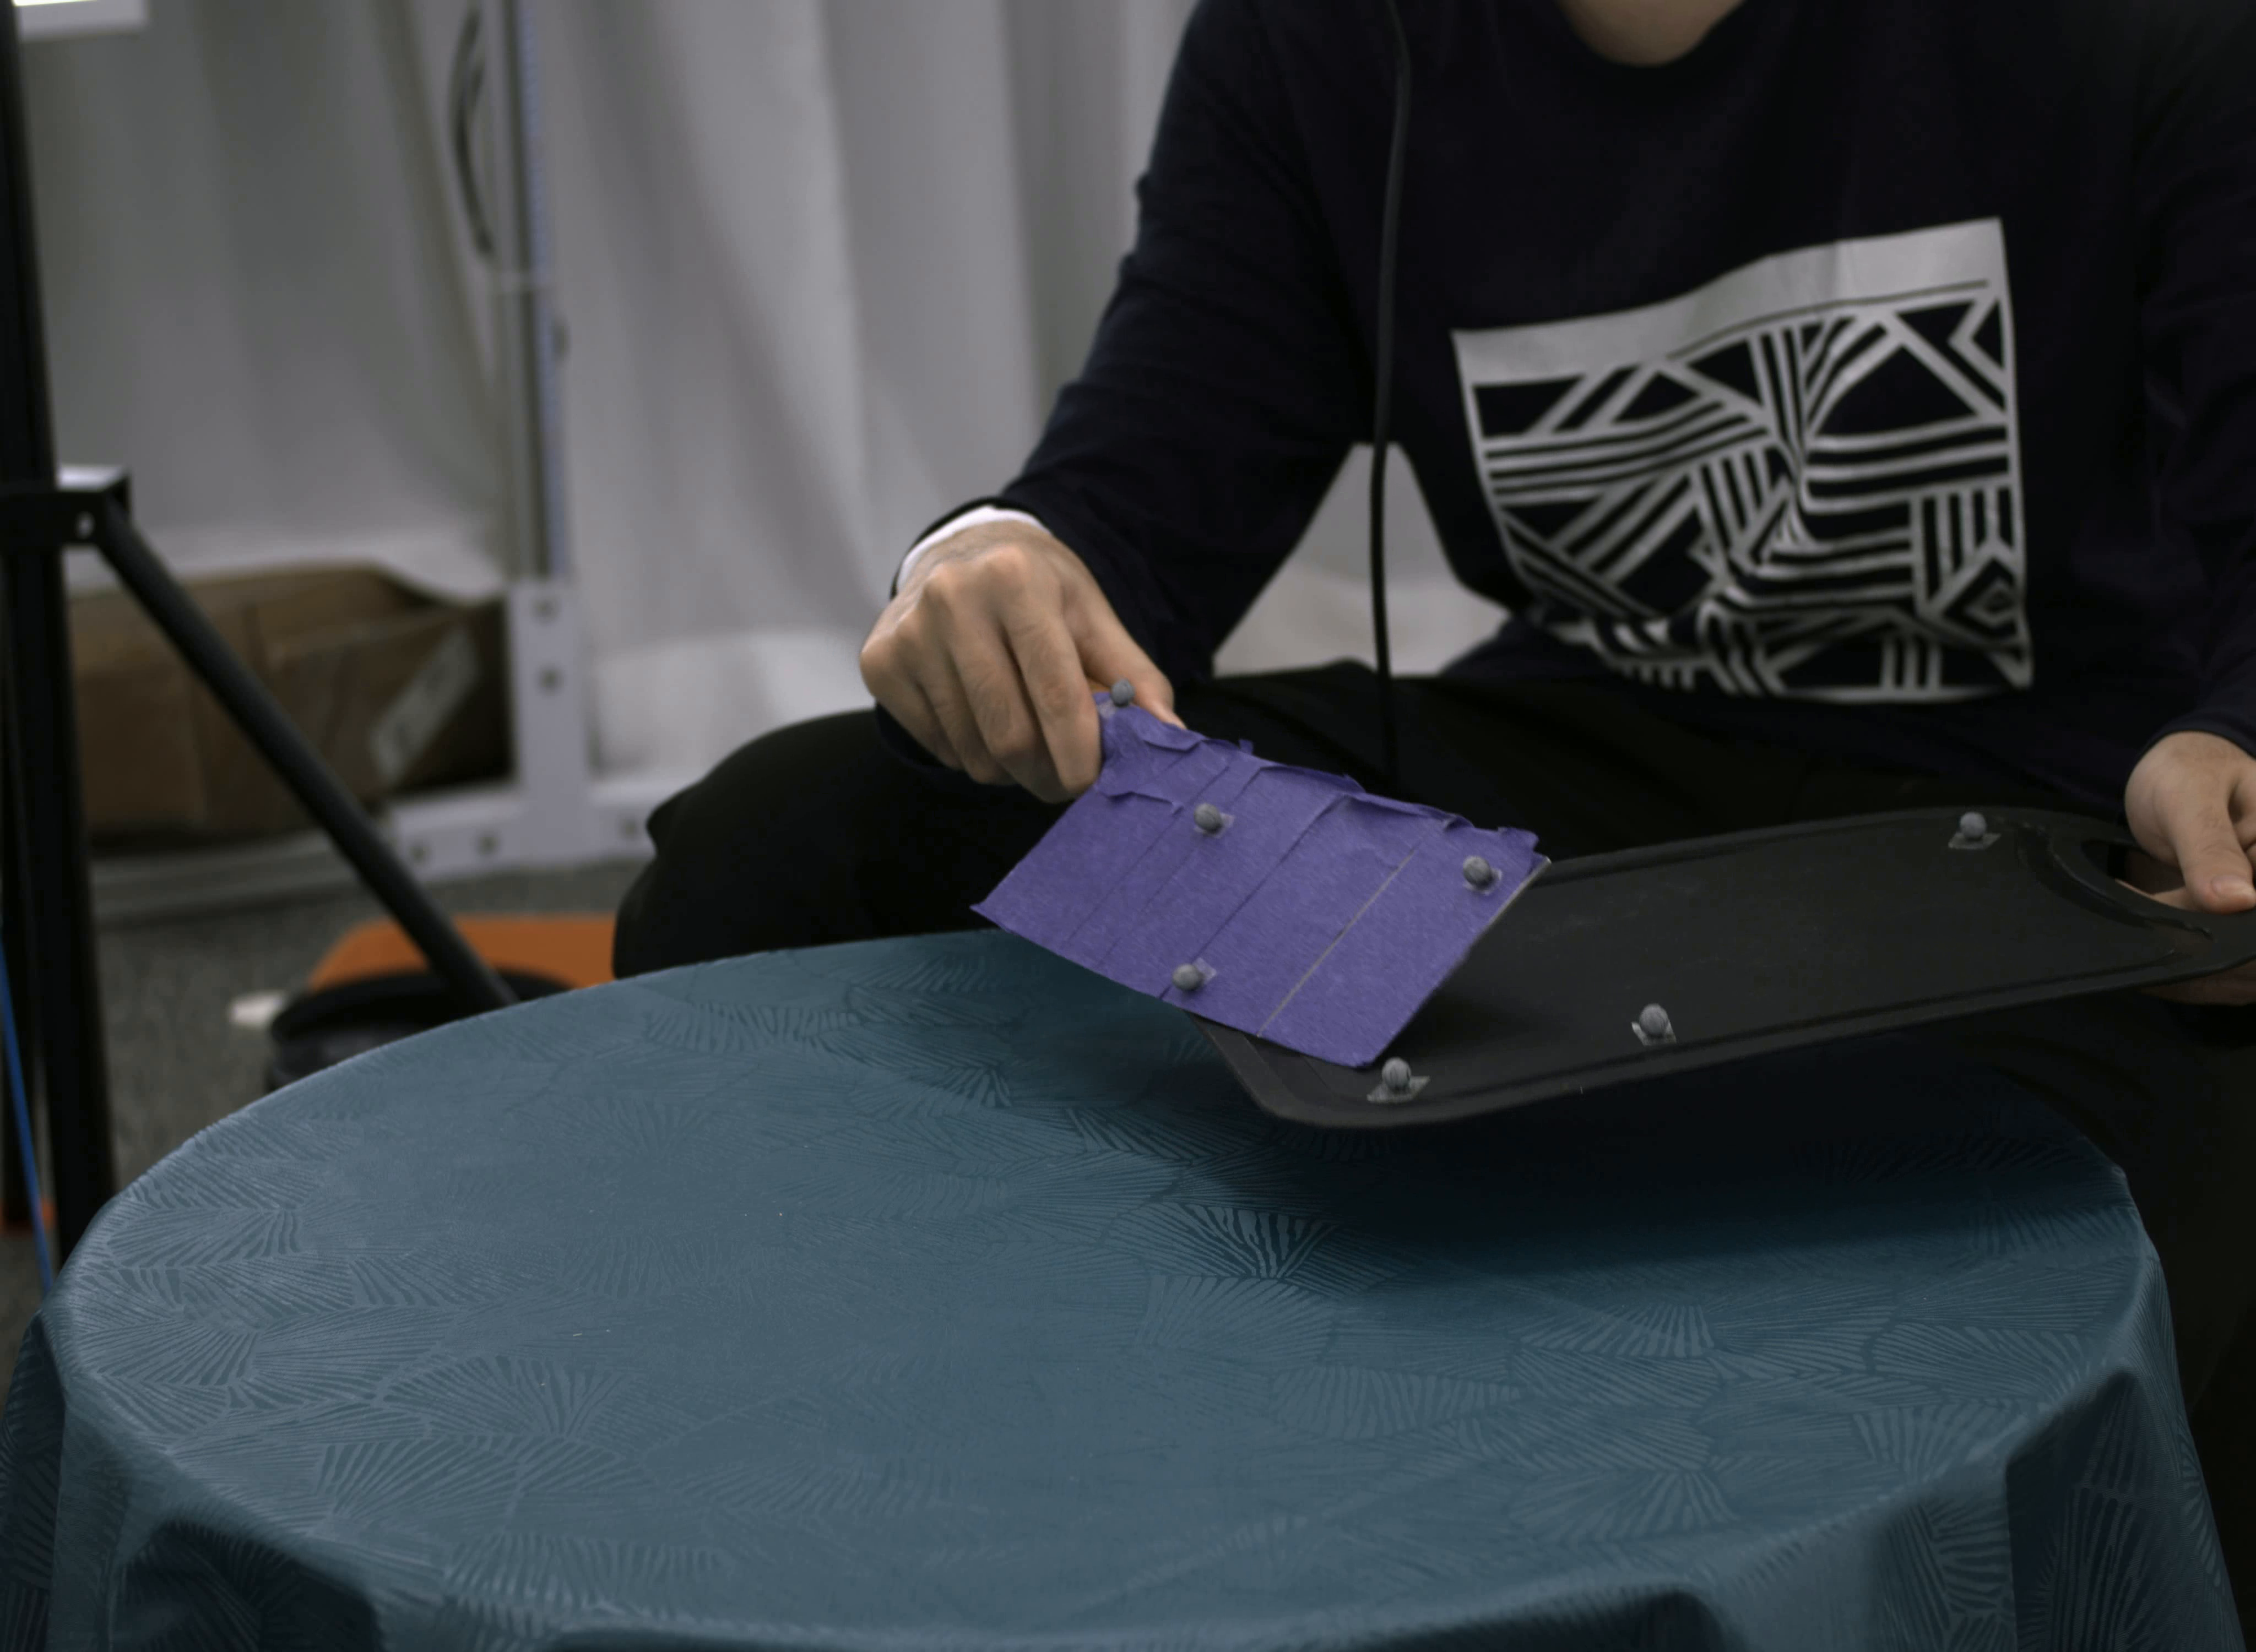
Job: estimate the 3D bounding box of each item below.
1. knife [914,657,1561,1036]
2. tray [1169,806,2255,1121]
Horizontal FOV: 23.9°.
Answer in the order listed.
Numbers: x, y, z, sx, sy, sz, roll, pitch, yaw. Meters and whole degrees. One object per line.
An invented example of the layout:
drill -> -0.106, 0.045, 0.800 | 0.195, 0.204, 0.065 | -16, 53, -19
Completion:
knife -> 0.006, 0.003, 1.660 | 0.103, 0.031, 0.322 | -47, 30, -17
tray -> 0.181, 0.036, 1.591 | 0.322, 0.010, 0.213 | -12, 12, -7
